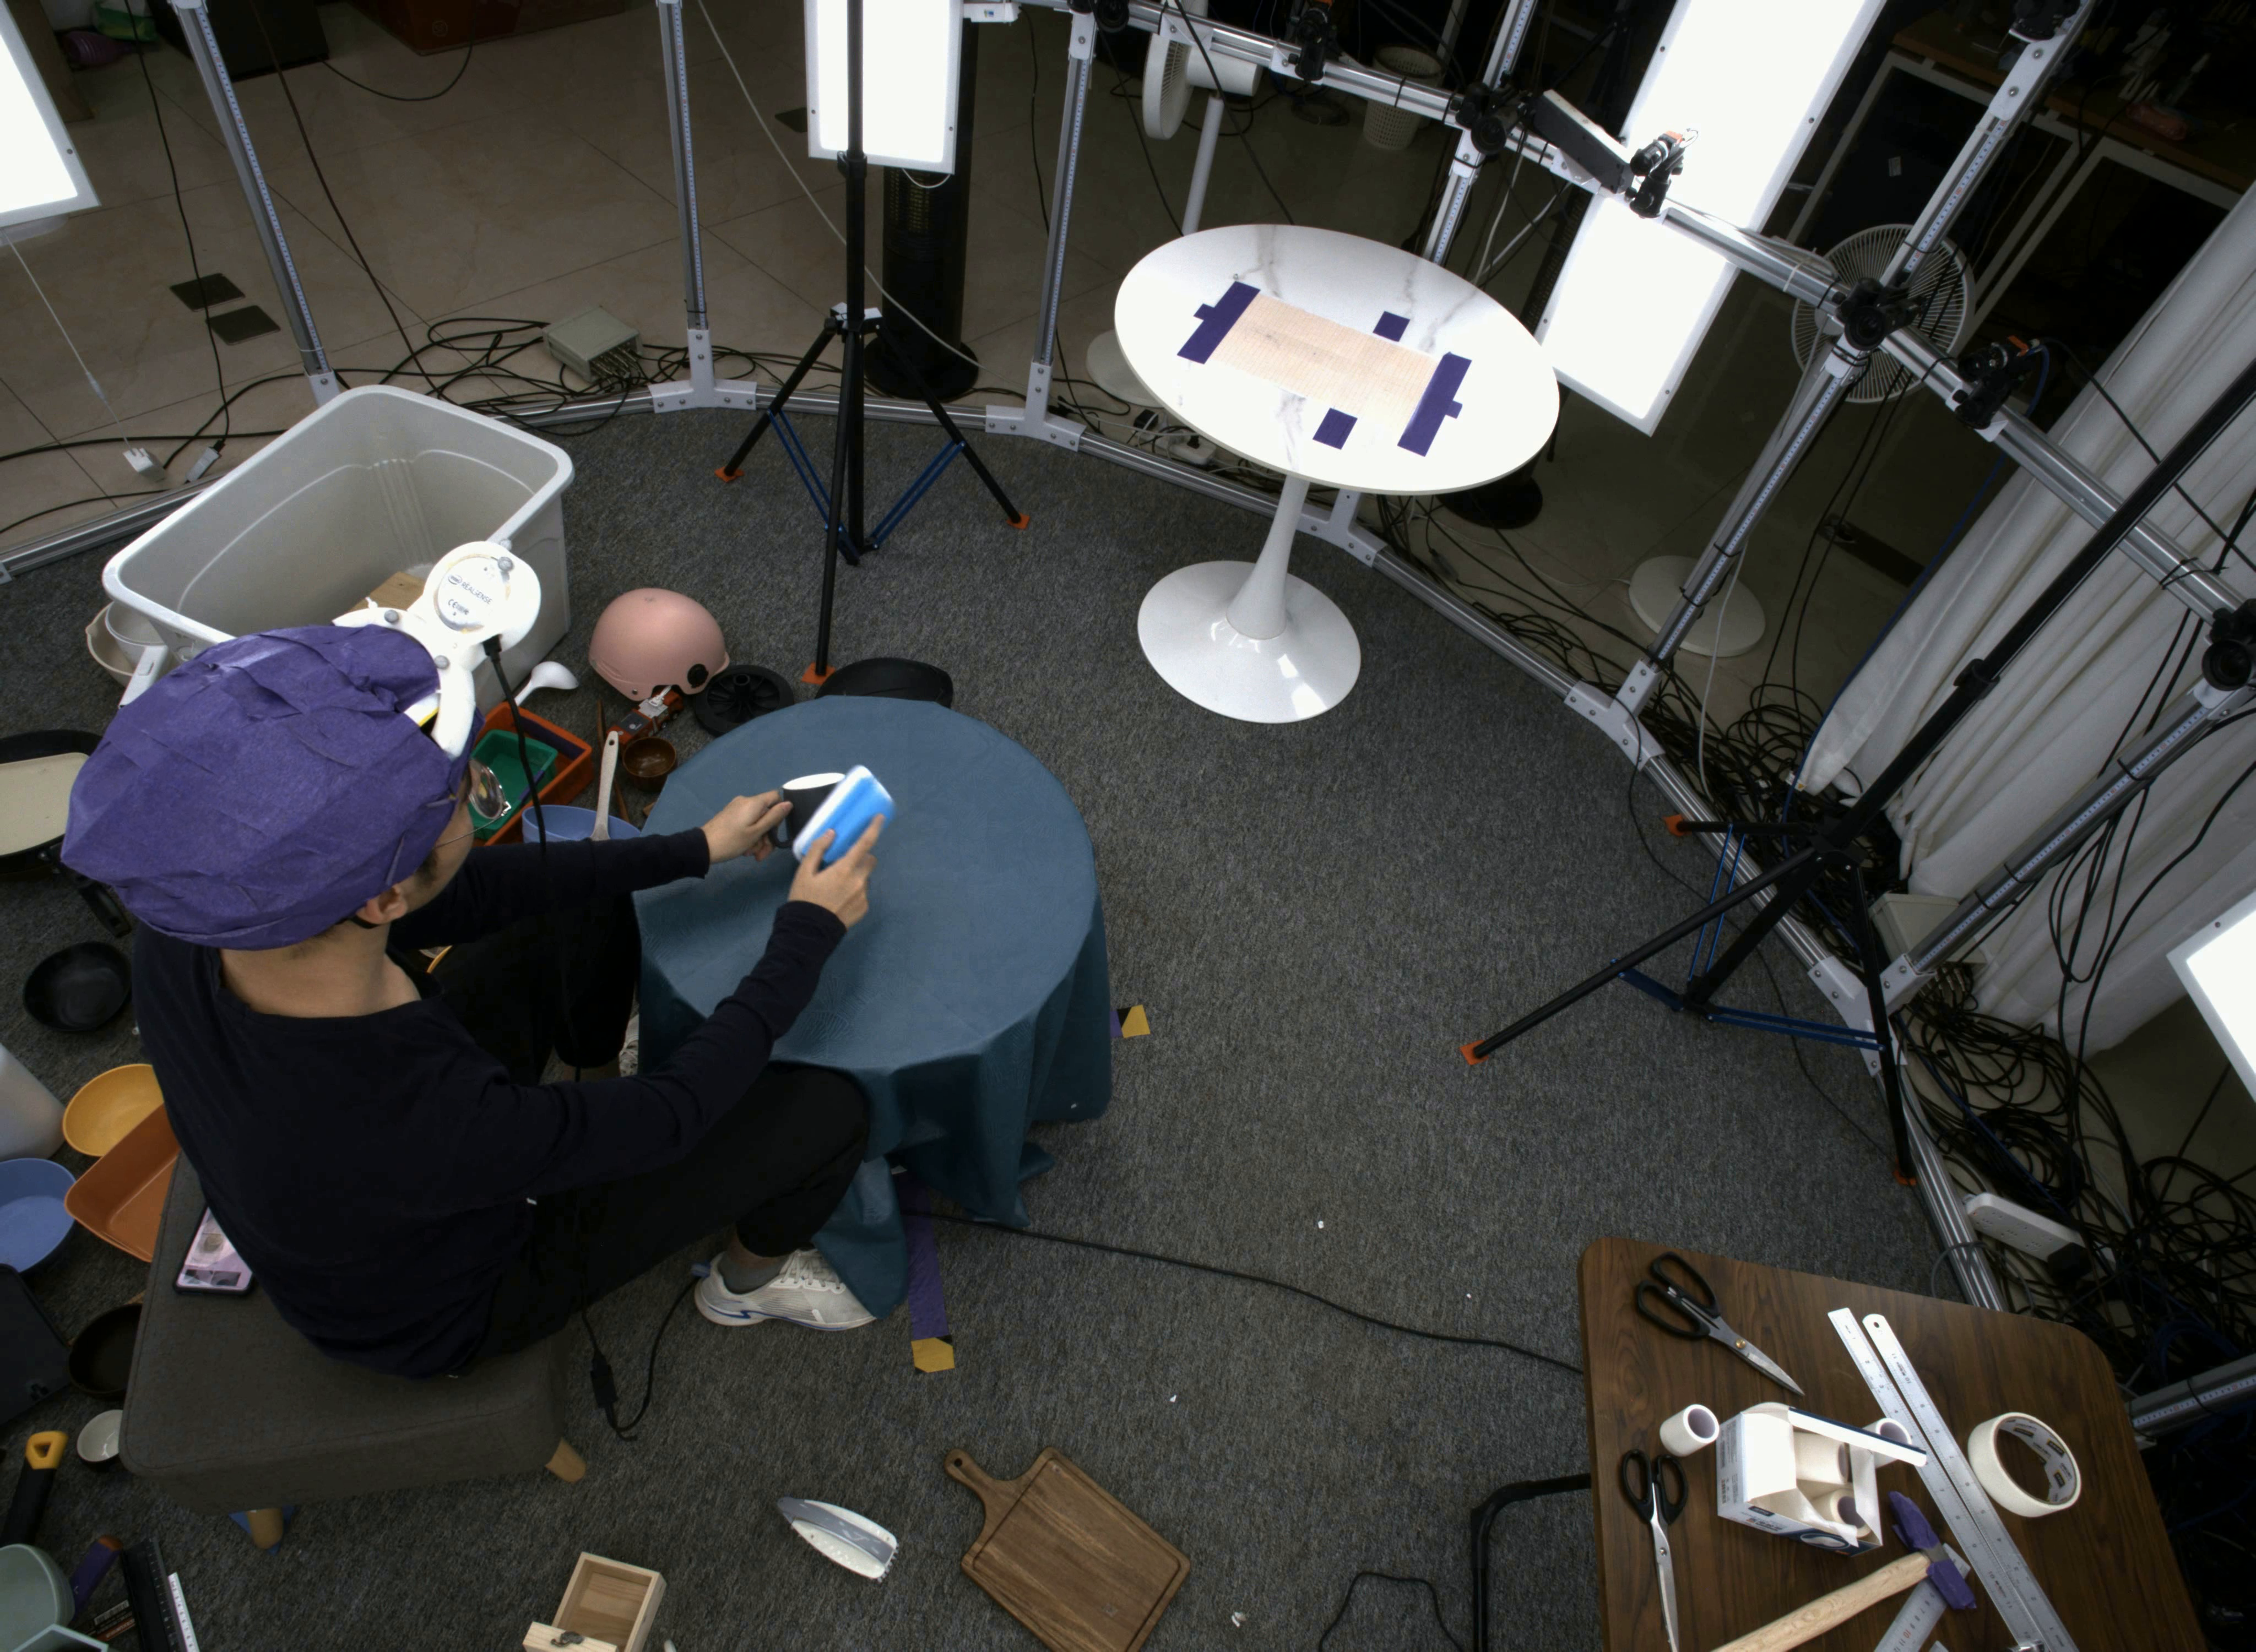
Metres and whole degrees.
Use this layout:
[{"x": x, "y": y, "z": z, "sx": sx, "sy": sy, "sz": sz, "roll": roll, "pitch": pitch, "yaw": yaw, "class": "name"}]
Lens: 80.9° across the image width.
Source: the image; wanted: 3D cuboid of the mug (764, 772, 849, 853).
[{"x": -0.408, "y": -0.014, "z": 1.655, "sx": 0.090, "sy": 0.092, "sz": 0.124, "roll": 8, "pitch": 20, "yaw": 44, "class": "mug"}]

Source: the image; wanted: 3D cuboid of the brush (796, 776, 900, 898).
[{"x": -0.329, "y": 0.013, "z": 1.562, "sx": 0.054, "sy": 0.087, "sz": 0.144, "roll": 15, "pitch": 59, "yaw": 40, "class": "brush"}]
